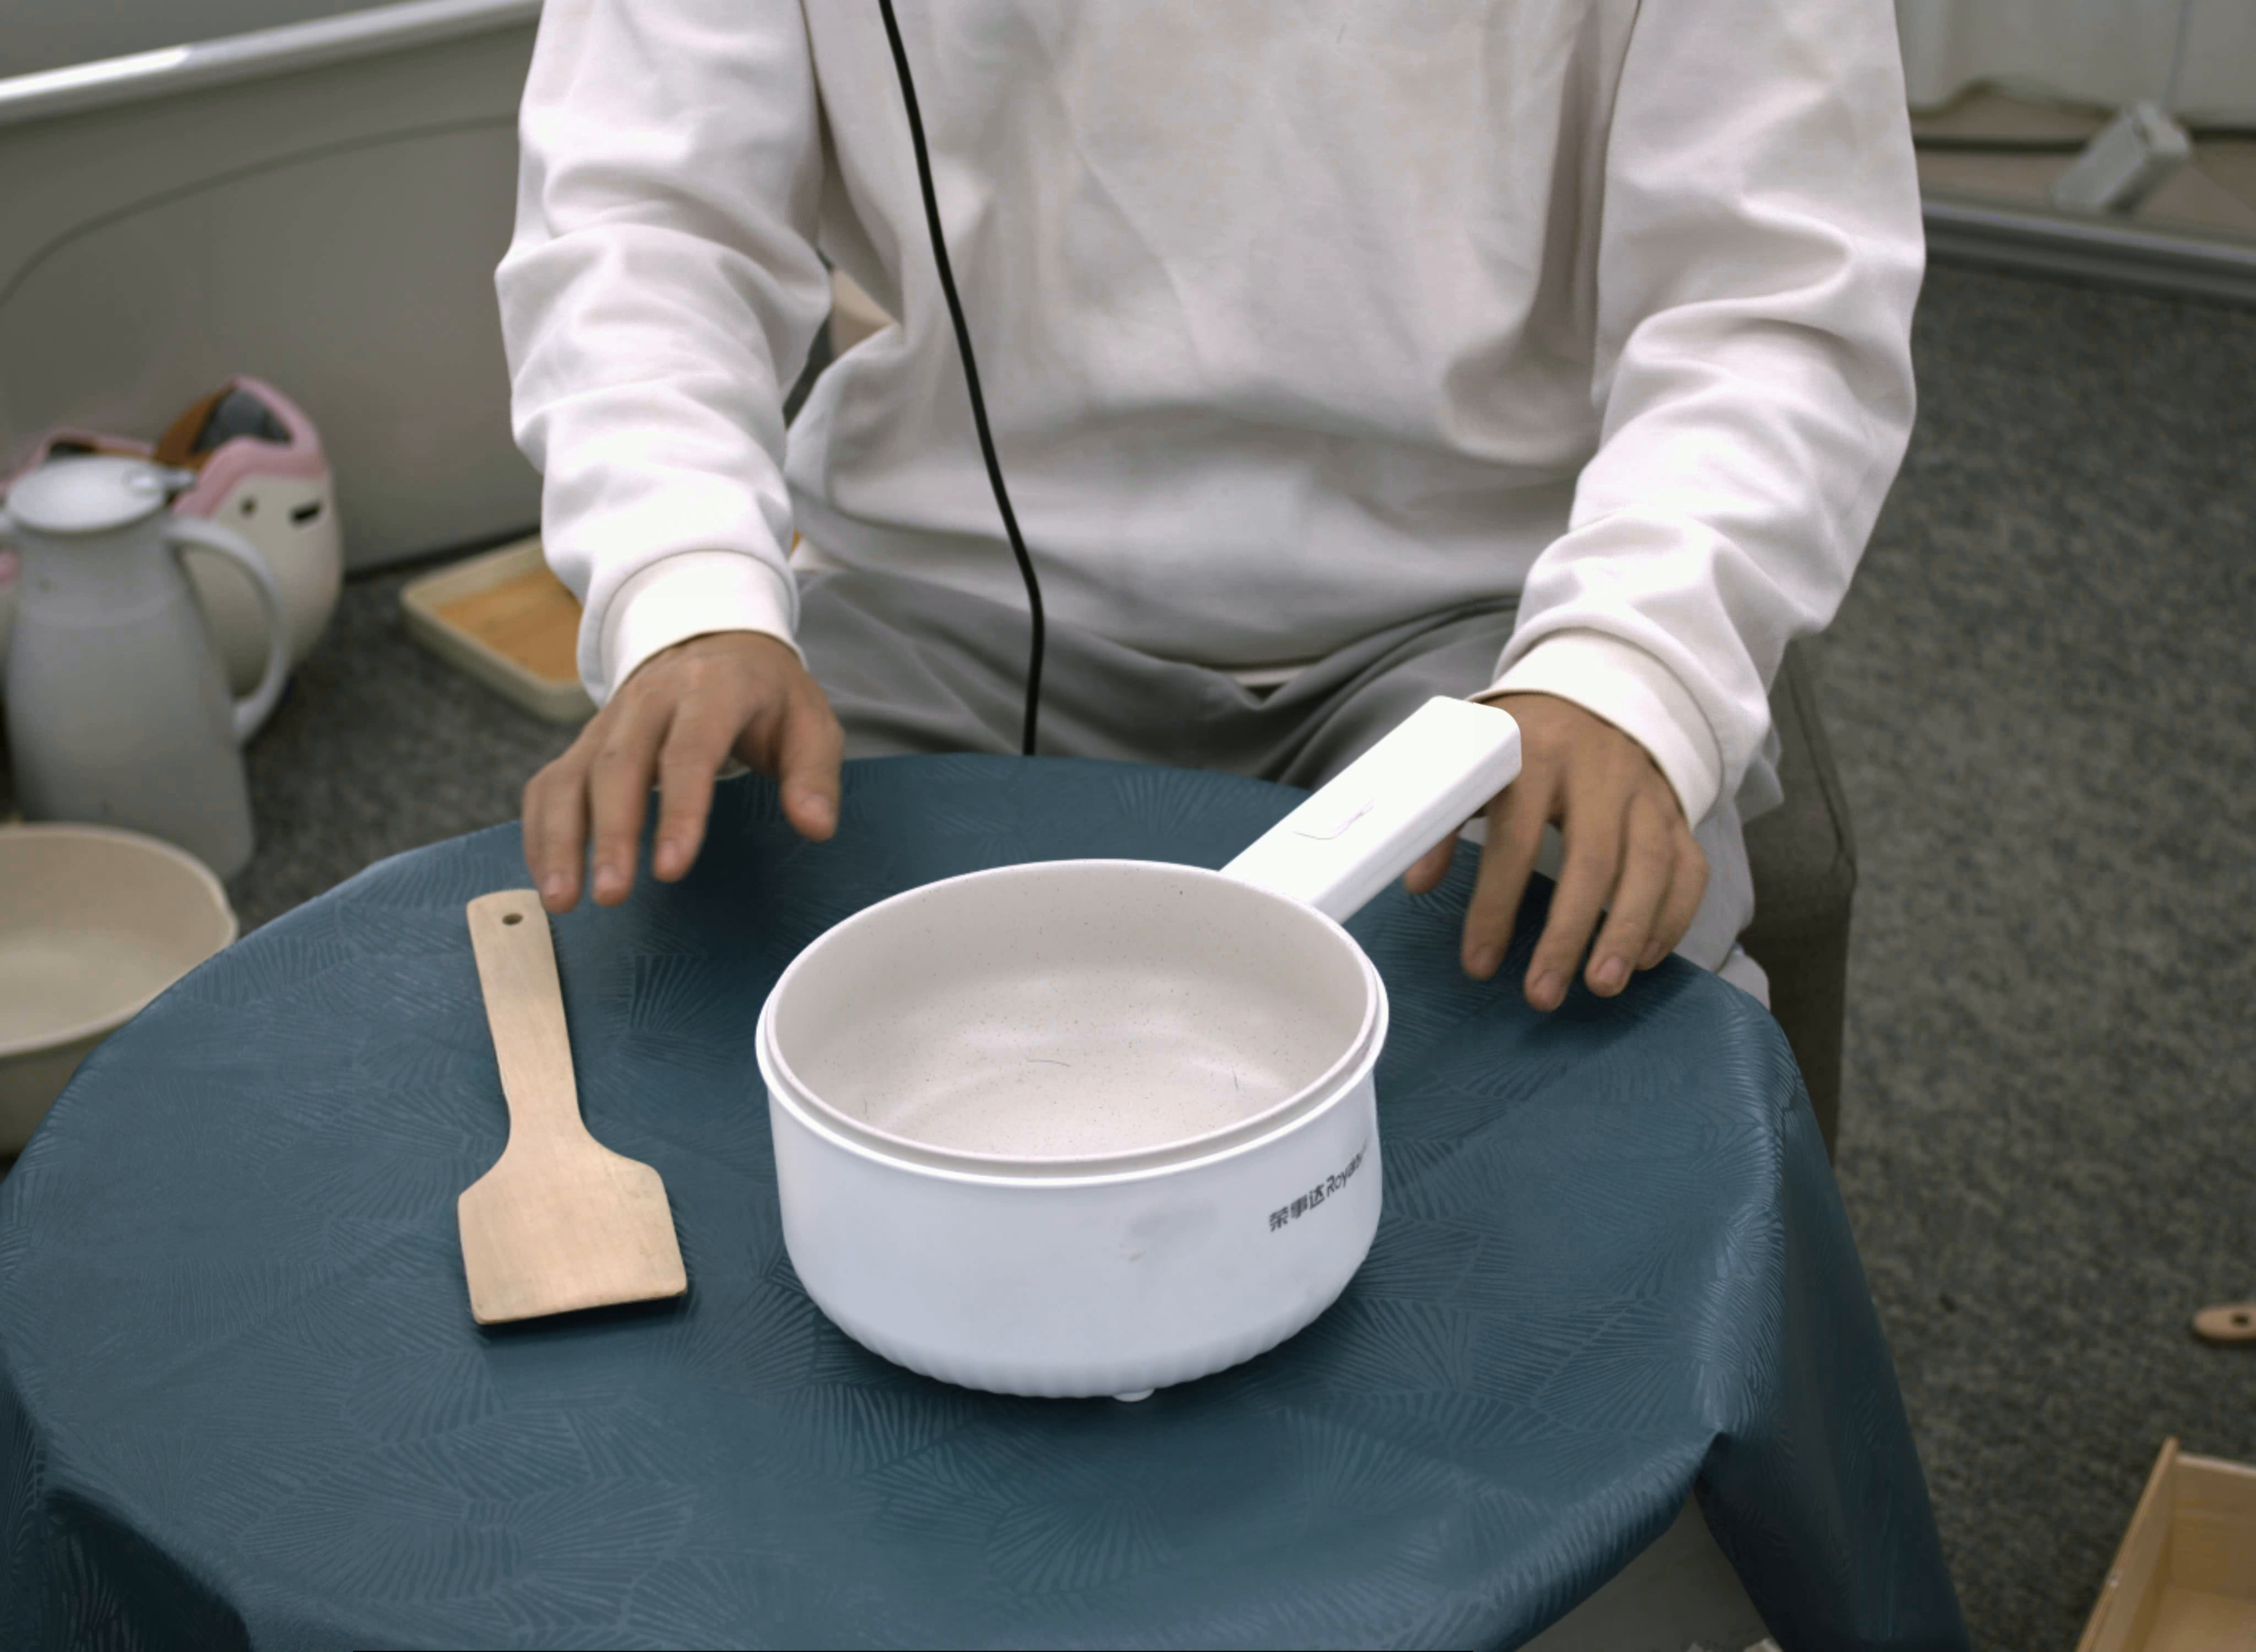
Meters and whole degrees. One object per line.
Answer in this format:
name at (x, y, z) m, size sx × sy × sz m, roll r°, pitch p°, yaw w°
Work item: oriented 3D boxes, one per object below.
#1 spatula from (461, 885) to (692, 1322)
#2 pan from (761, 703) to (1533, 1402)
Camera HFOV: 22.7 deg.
spatula at (-0.202, 0.091, 1.931) m, size 0.072 × 0.010 × 0.296 m, roll -8°, pitch 28°, yaw -8°
pan at (0.028, 0.070, 1.857) m, size 0.200 × 0.101 × 0.360 m, roll 14°, pitch 30°, yaw 30°
